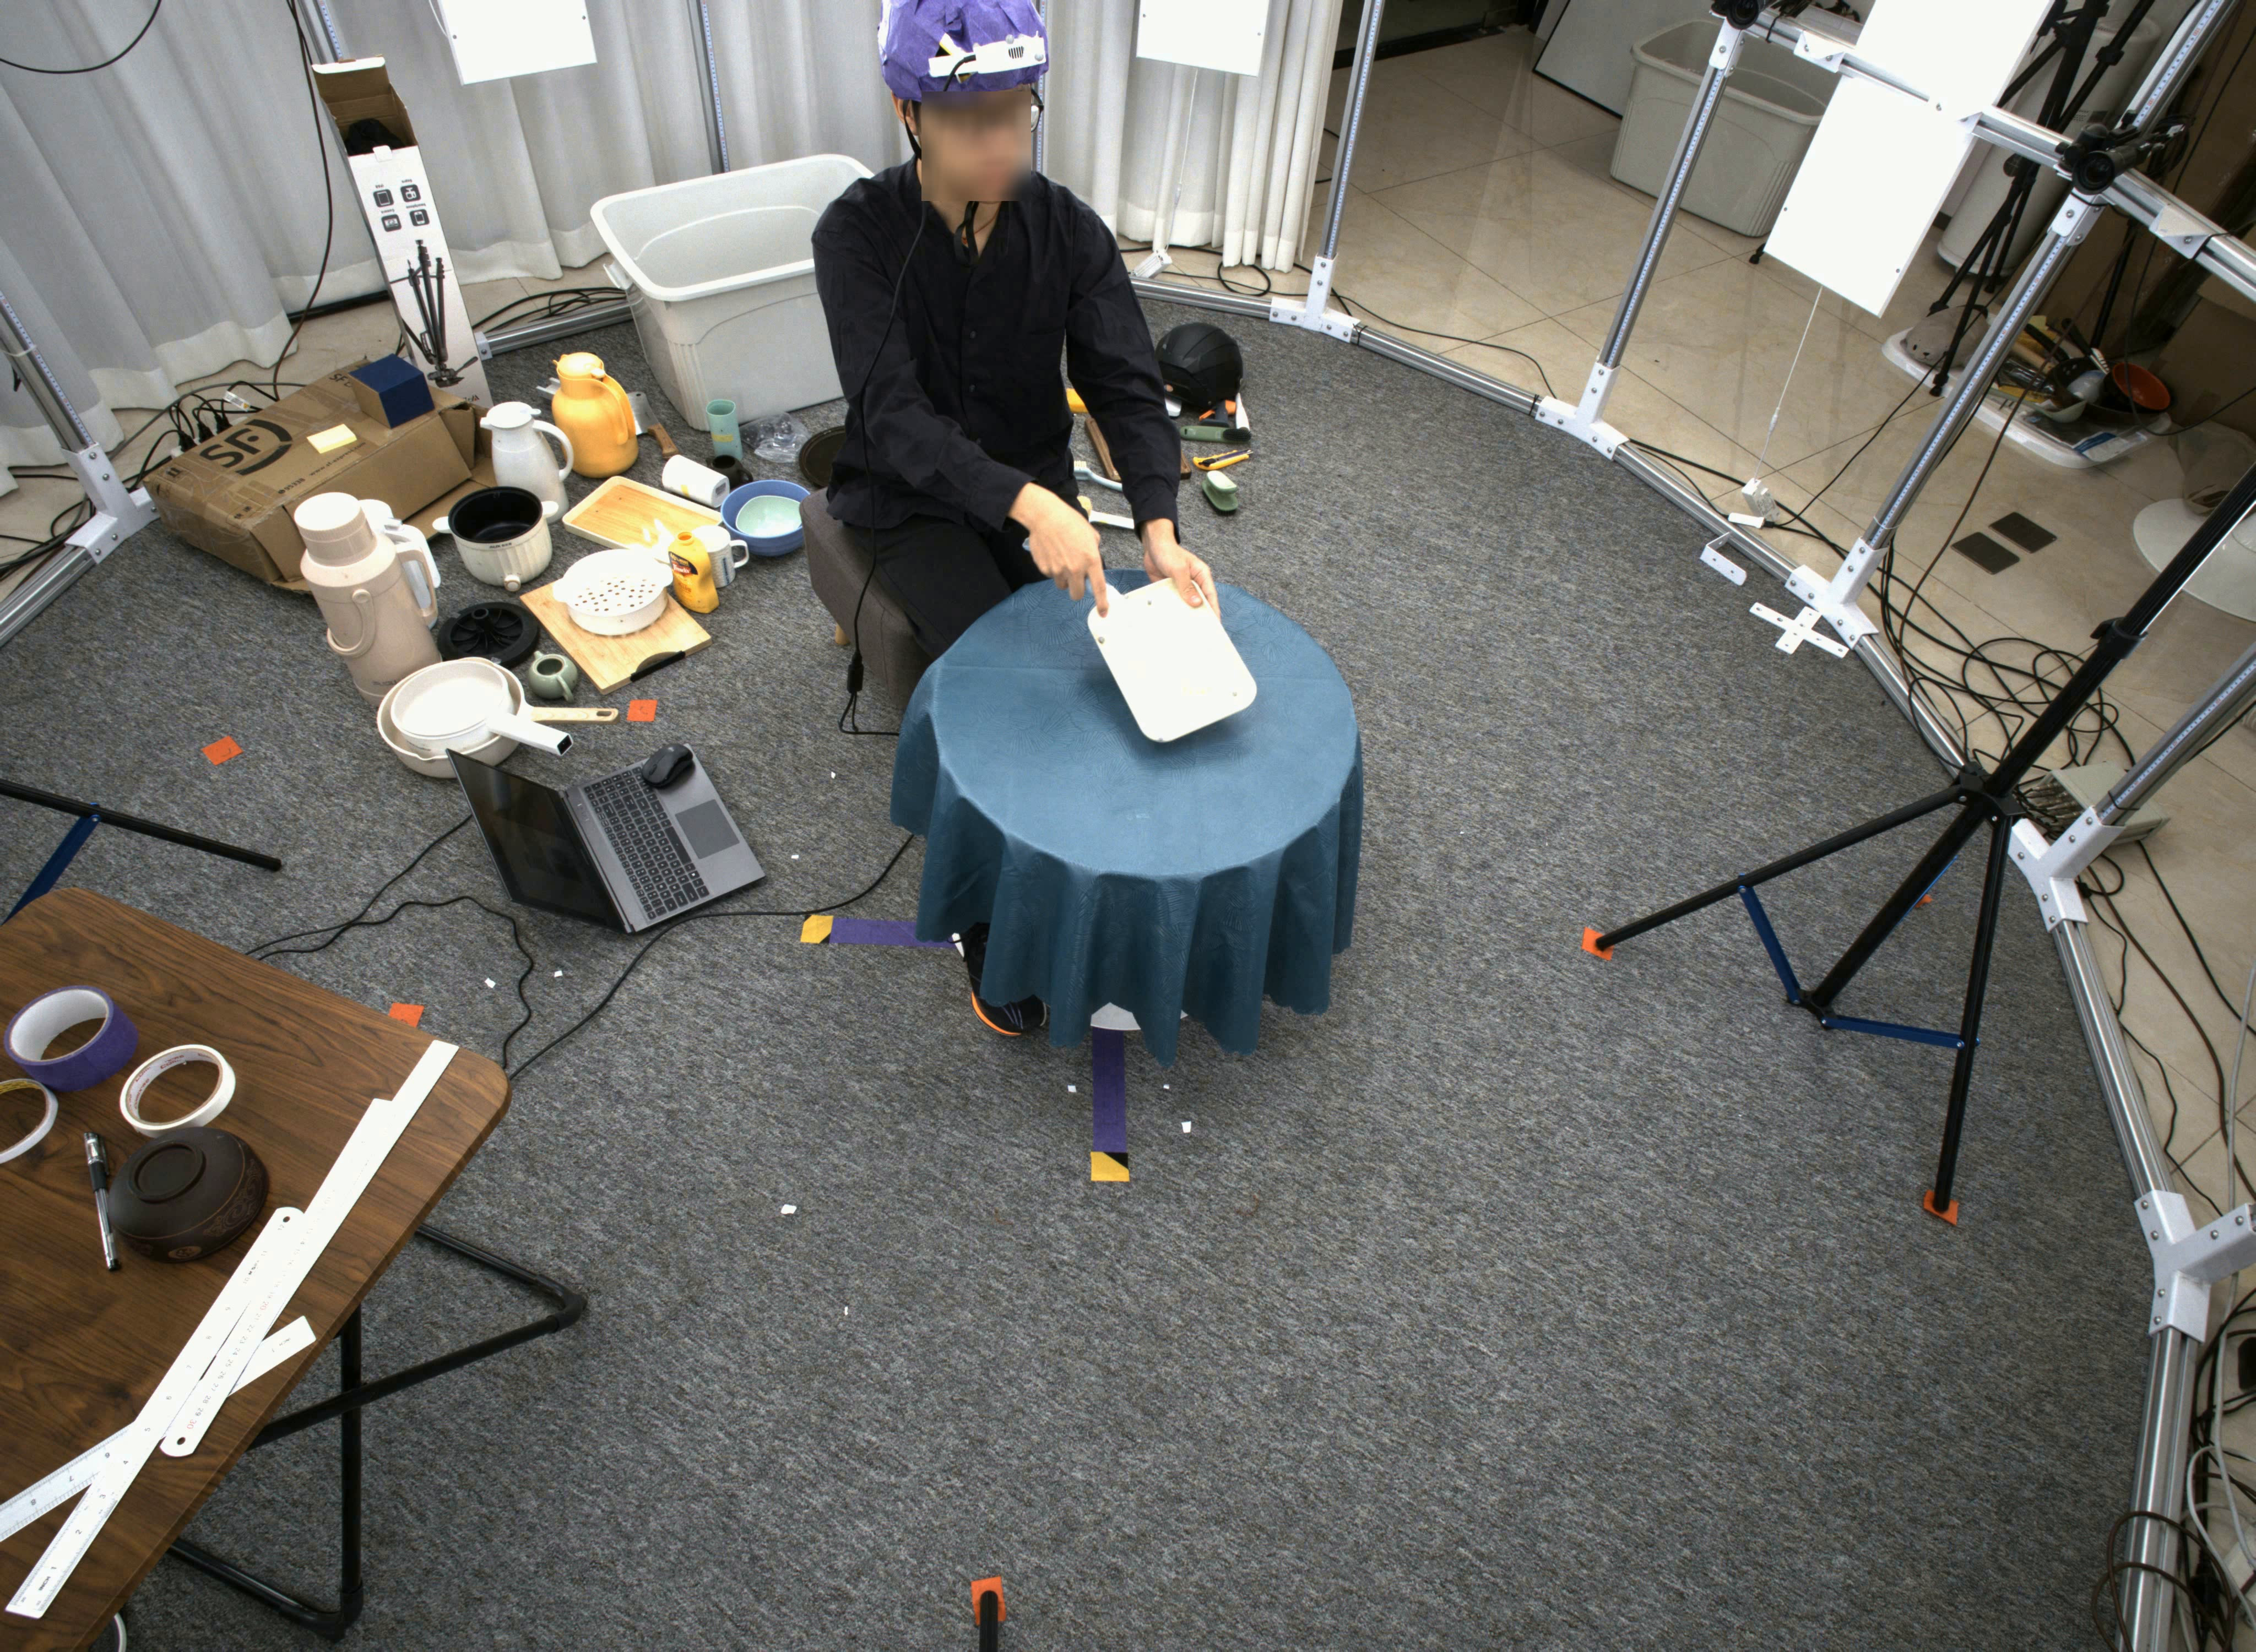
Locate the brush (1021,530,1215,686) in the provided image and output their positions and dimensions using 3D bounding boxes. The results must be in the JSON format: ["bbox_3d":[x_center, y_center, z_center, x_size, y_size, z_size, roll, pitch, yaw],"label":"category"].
[{"bbox_3d":[-0.015,-0.300,1.787,0.326,0.083,0.084,36,33,5],"label":"brush"}]

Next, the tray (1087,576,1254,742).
[{"bbox_3d":[0.057,-0.234,1.792,0.171,0.017,0.244,-22,66,-9],"label":"tray"}]
